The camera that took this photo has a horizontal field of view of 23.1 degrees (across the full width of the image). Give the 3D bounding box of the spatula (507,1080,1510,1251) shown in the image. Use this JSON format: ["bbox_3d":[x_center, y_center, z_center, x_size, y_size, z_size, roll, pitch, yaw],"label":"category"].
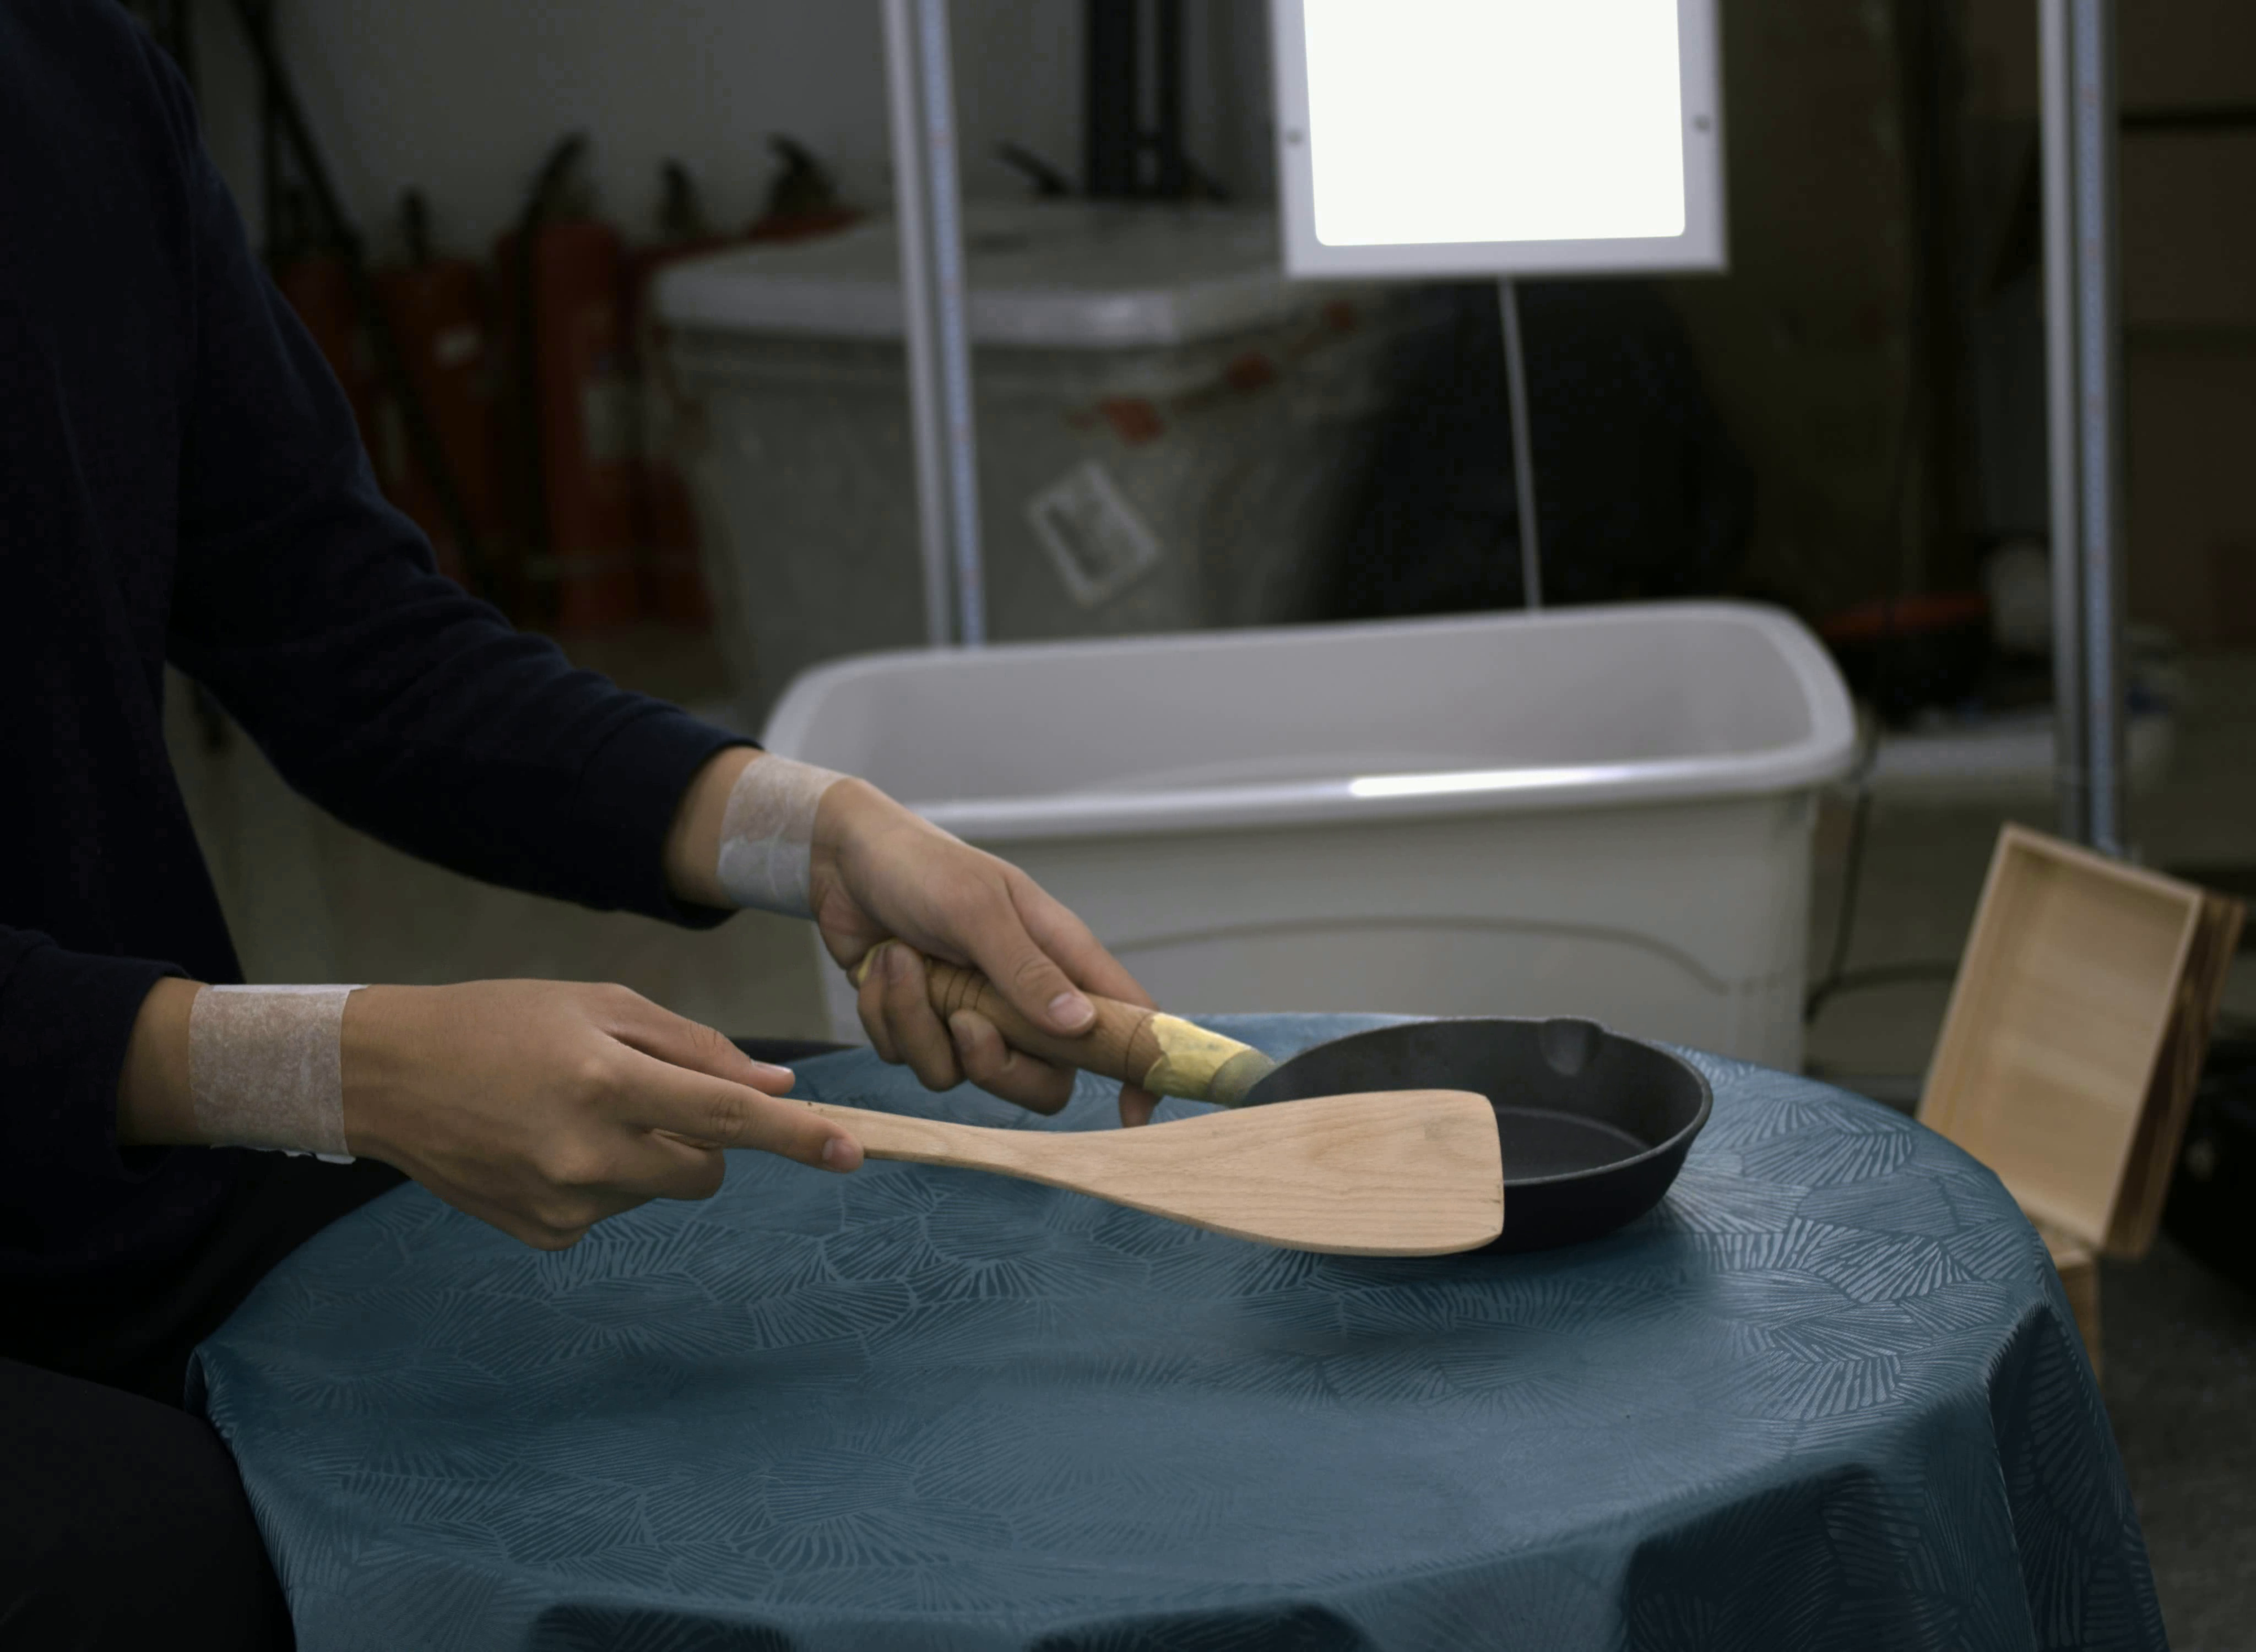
[{"bbox_3d":[-0.038,0.097,1.735,0.330,0.016,0.079,4,37,13],"label":"spatula"}]

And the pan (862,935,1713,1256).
[{"bbox_3d":[0.047,0.087,1.895,0.330,0.050,0.165,10,22,32],"label":"pan"}]
